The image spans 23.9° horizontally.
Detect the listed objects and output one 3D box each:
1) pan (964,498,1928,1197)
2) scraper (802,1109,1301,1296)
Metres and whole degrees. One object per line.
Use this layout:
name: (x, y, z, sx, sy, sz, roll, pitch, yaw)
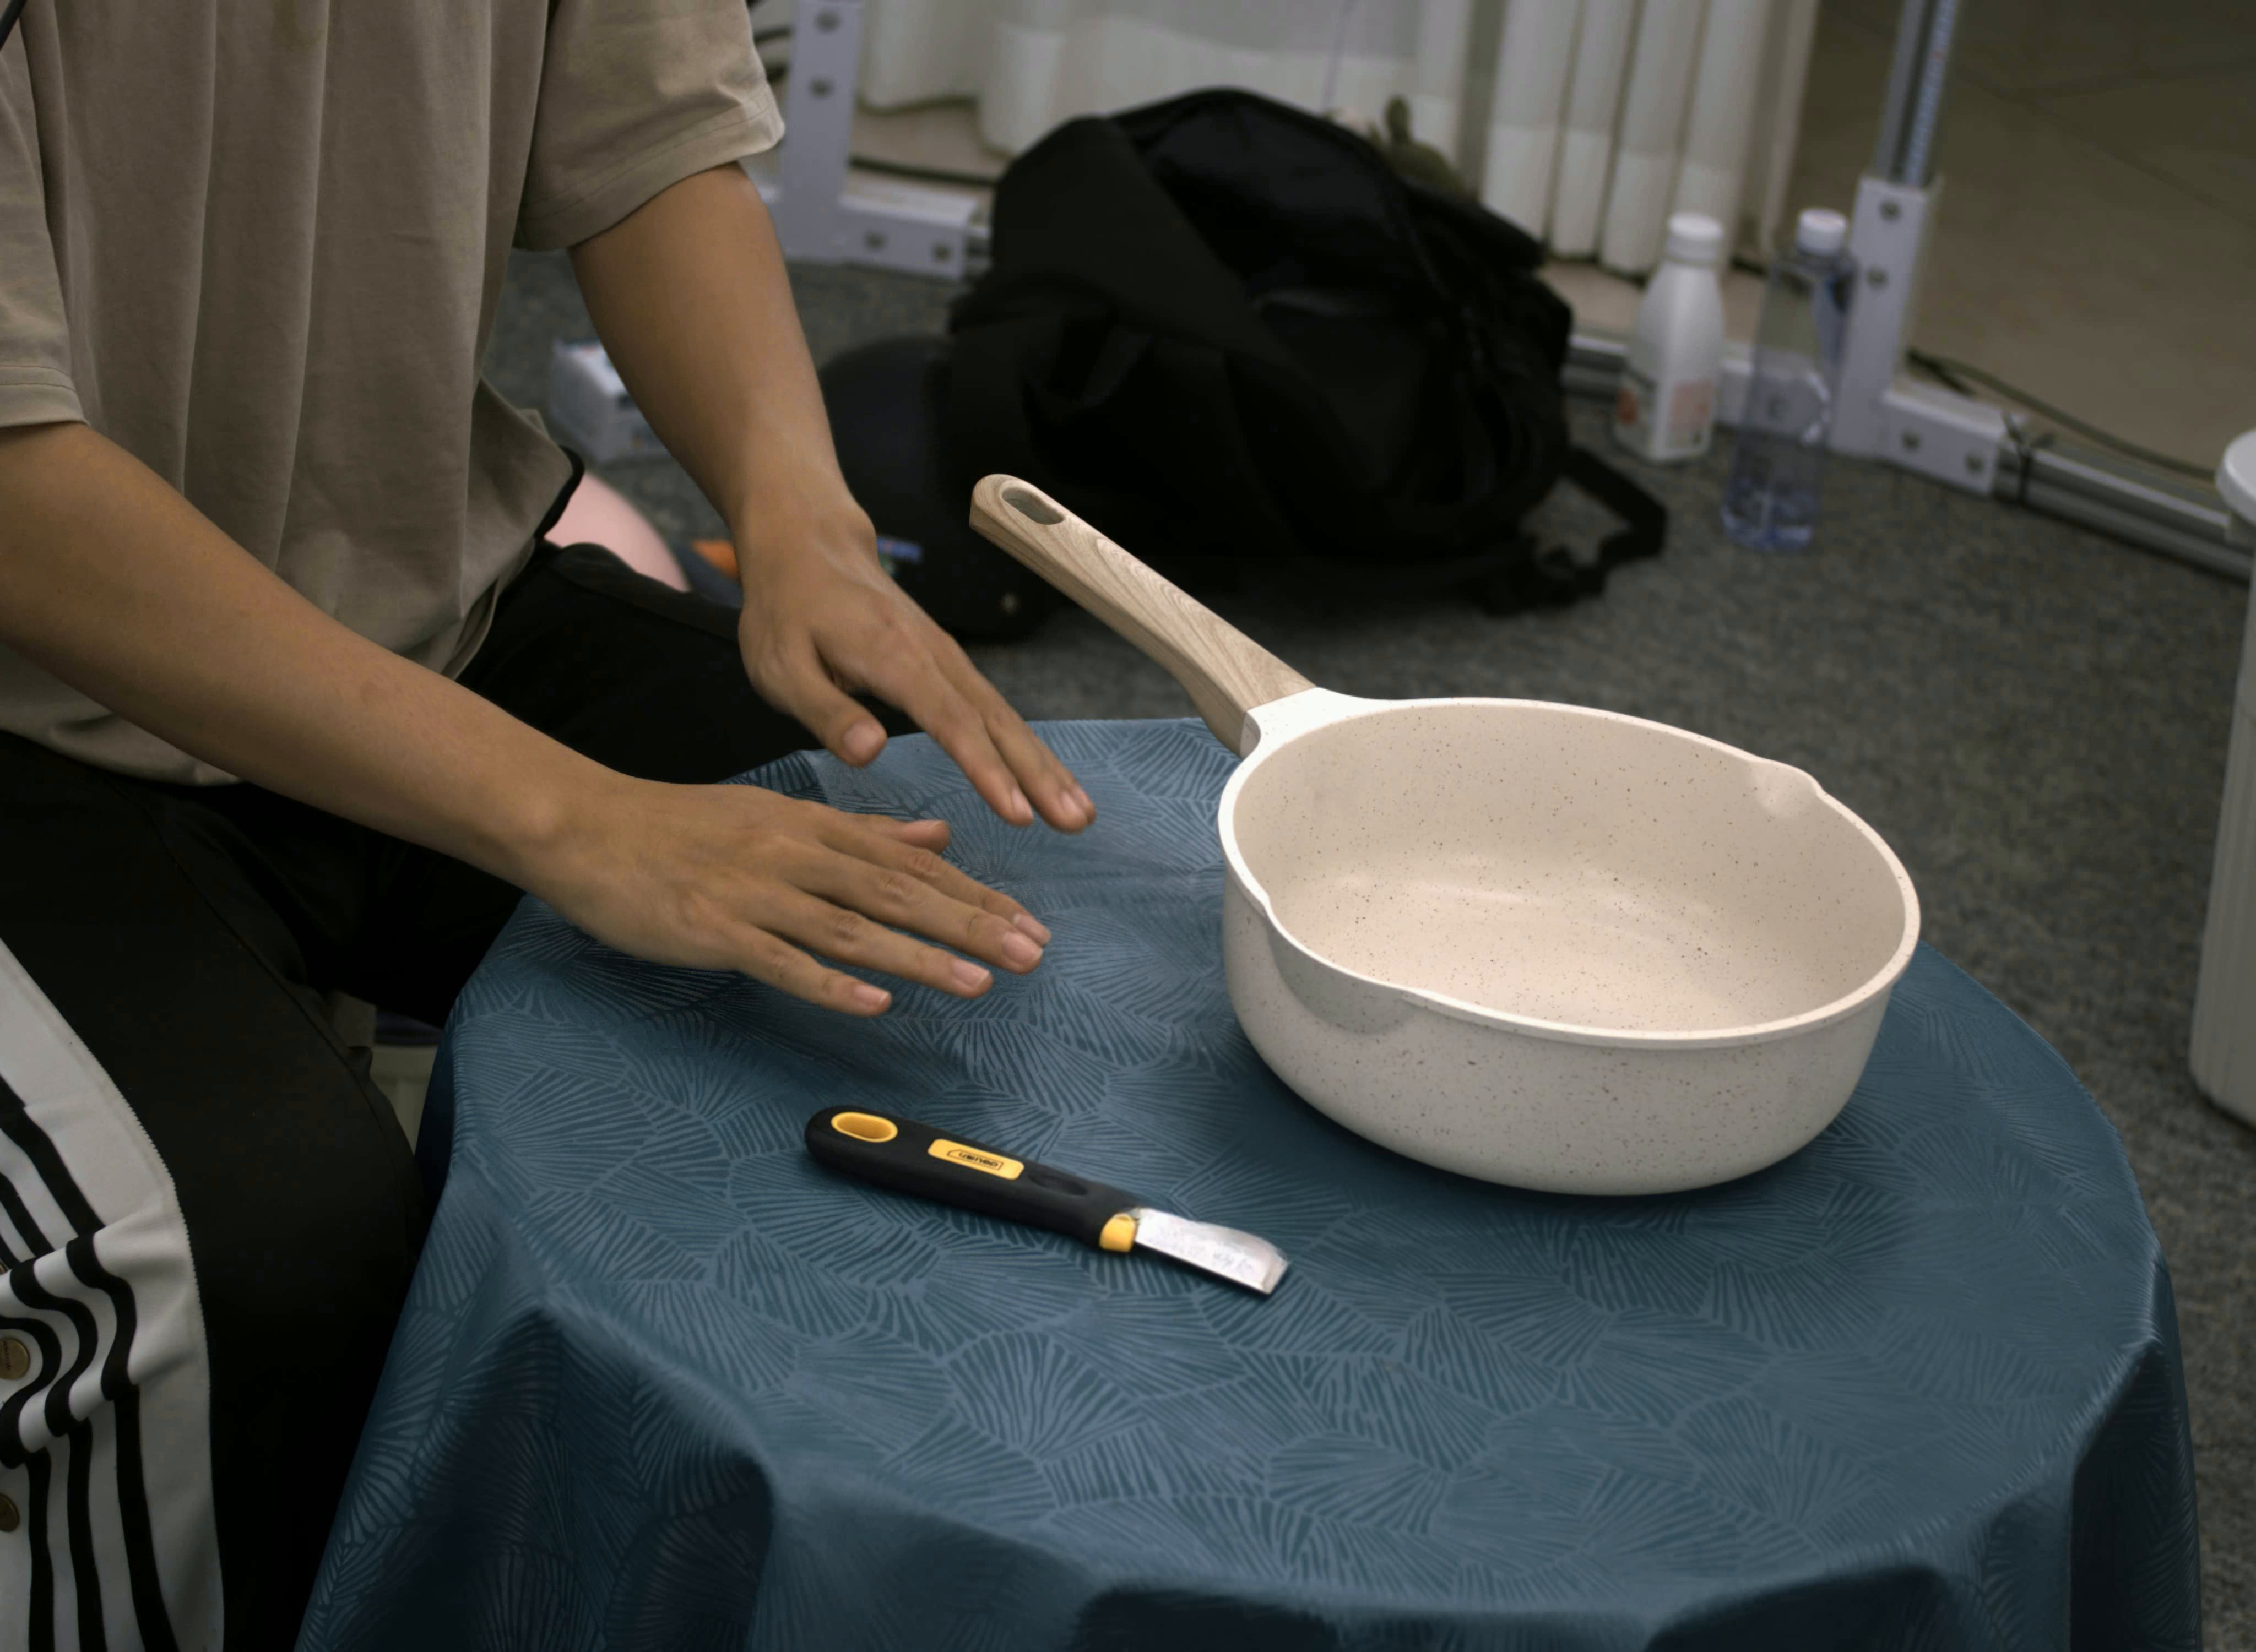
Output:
pan: (0.092, 0.003, 1.959, 0.262, 0.101, 0.438, -22, 39, -39)
scraper: (-0.027, 0.125, 1.778, 0.171, 0.015, 0.039, 15, 32, 10)
